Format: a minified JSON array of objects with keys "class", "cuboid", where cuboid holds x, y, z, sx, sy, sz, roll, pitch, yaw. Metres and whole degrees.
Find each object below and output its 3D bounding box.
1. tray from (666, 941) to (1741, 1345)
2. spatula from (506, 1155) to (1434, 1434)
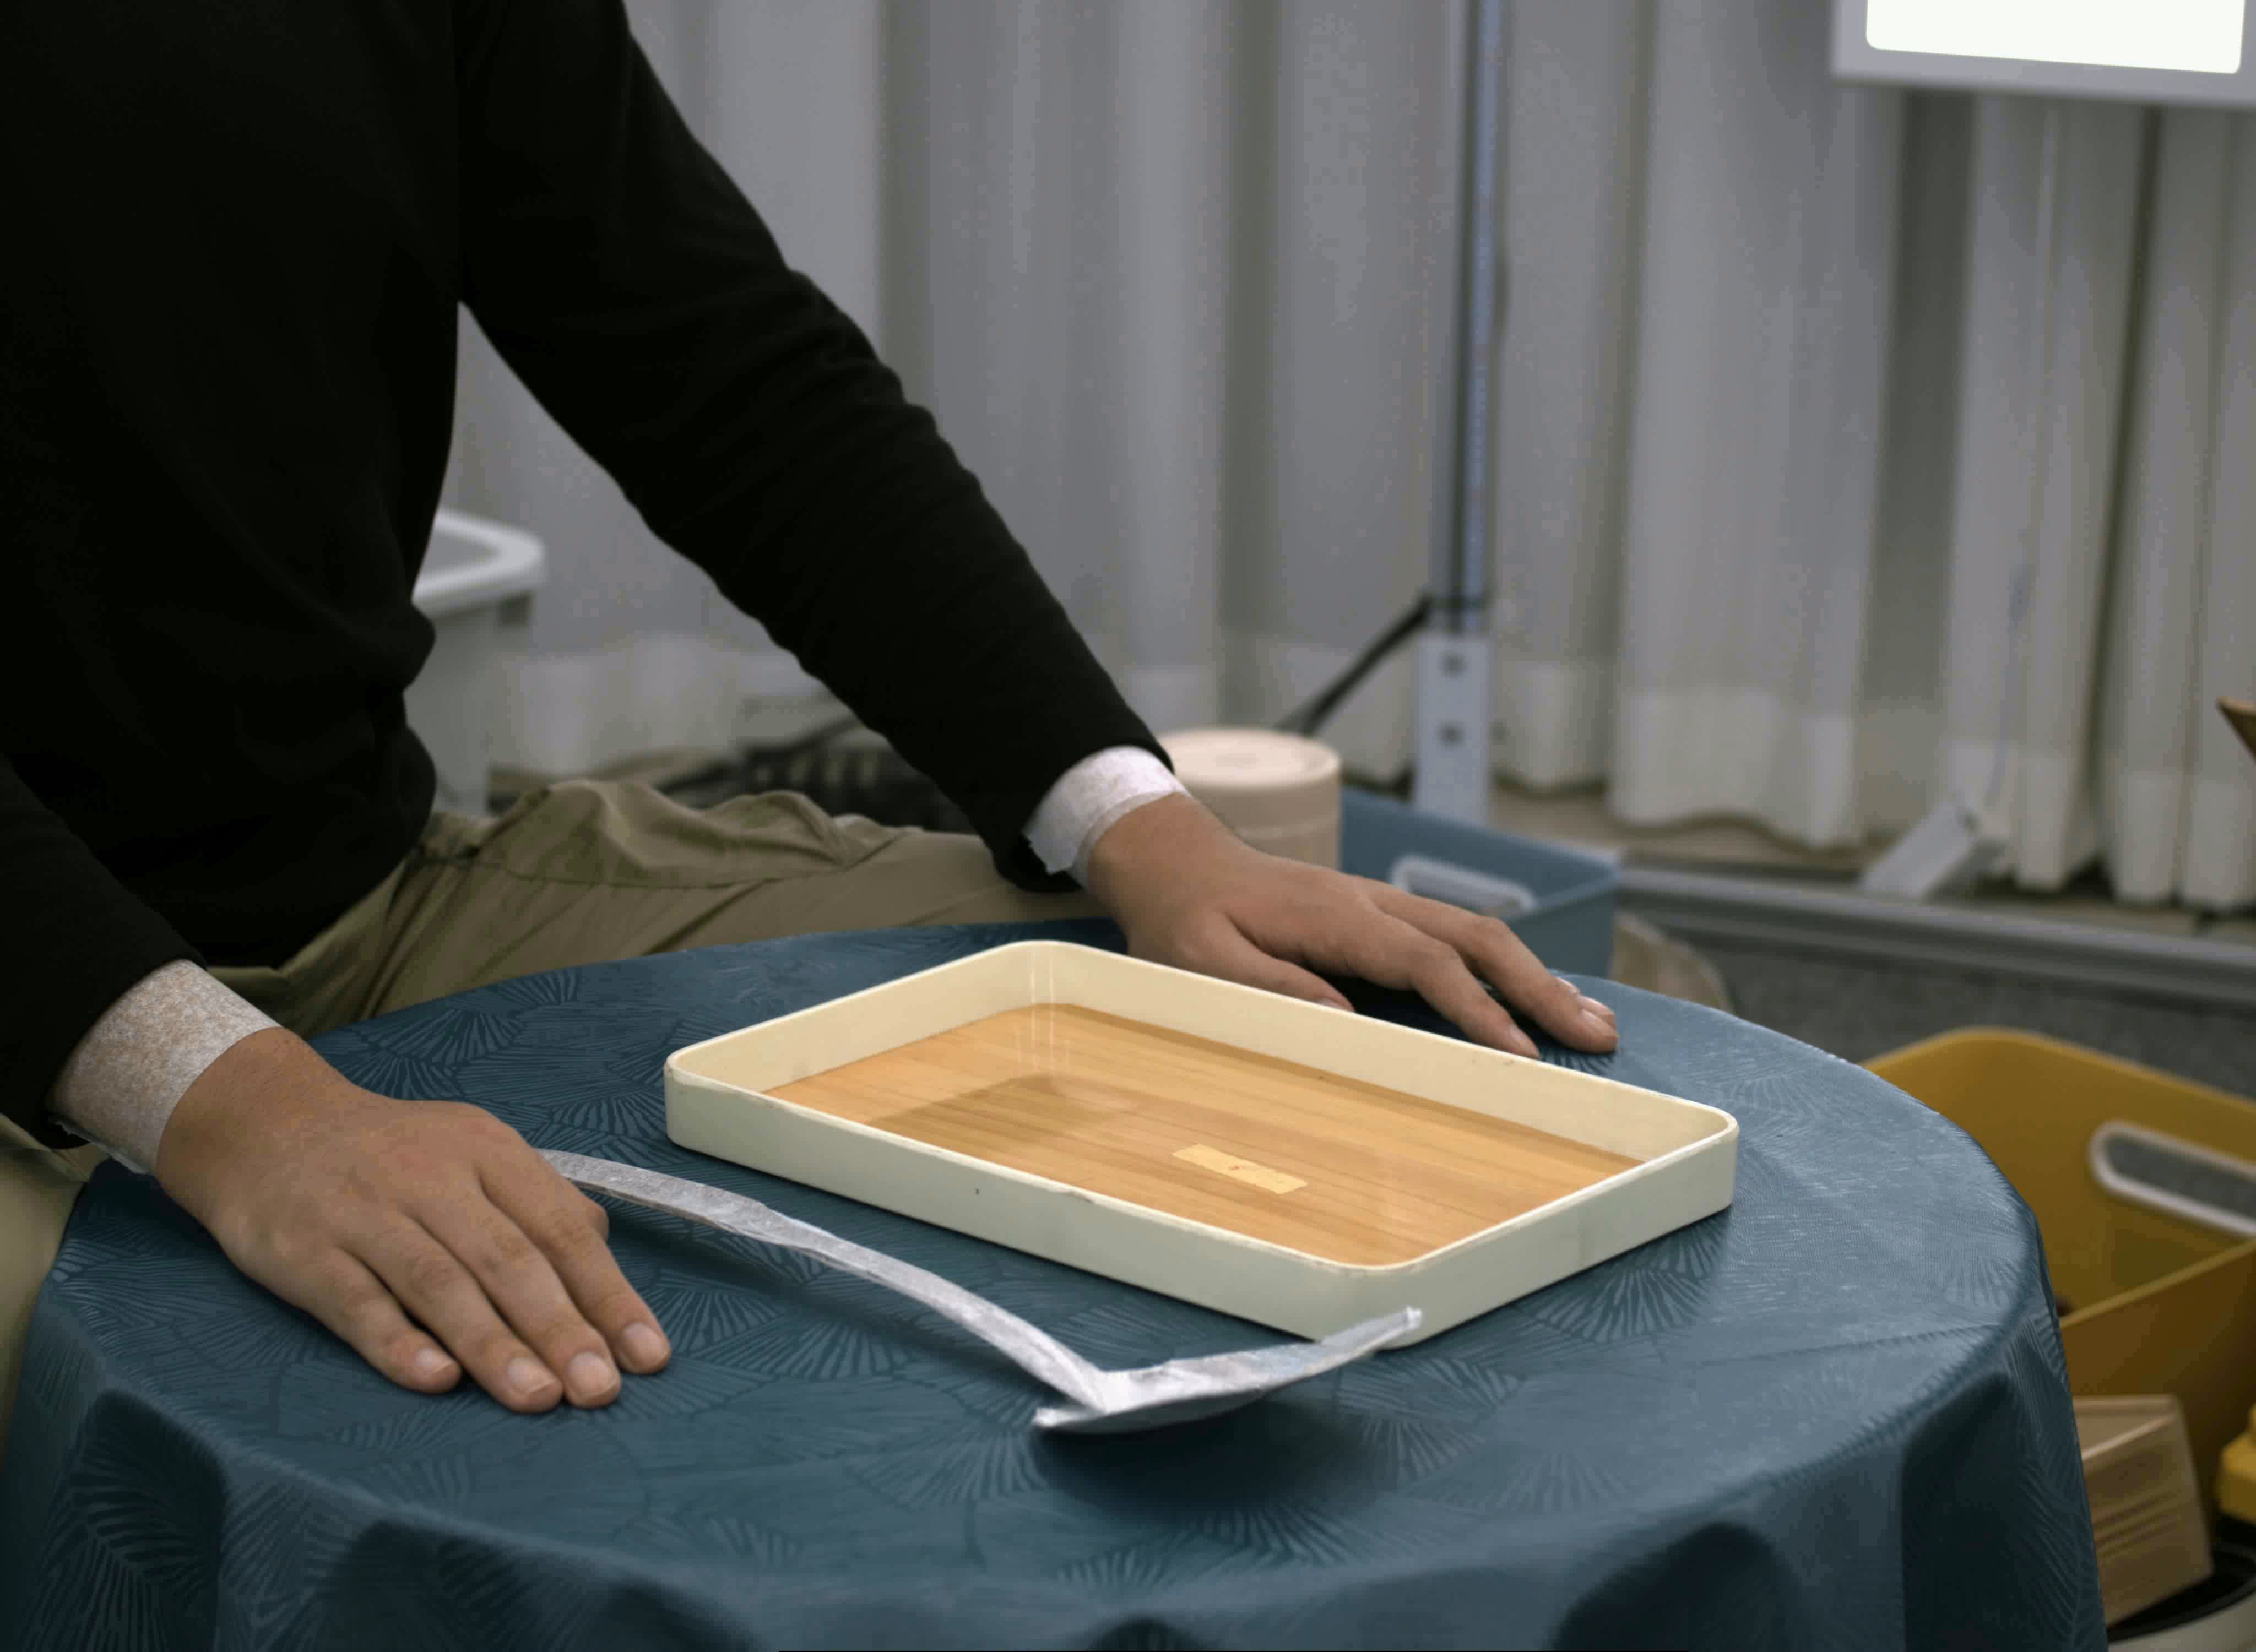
[{"class":"tray","cuboid":[0.021,0.094,1.637,0.296,0.027,0.192,13,20,39]},{"class":"spatula","cuboid":[-0.069,0.123,1.507,0.360,0.045,0.099,15,22,42]}]
